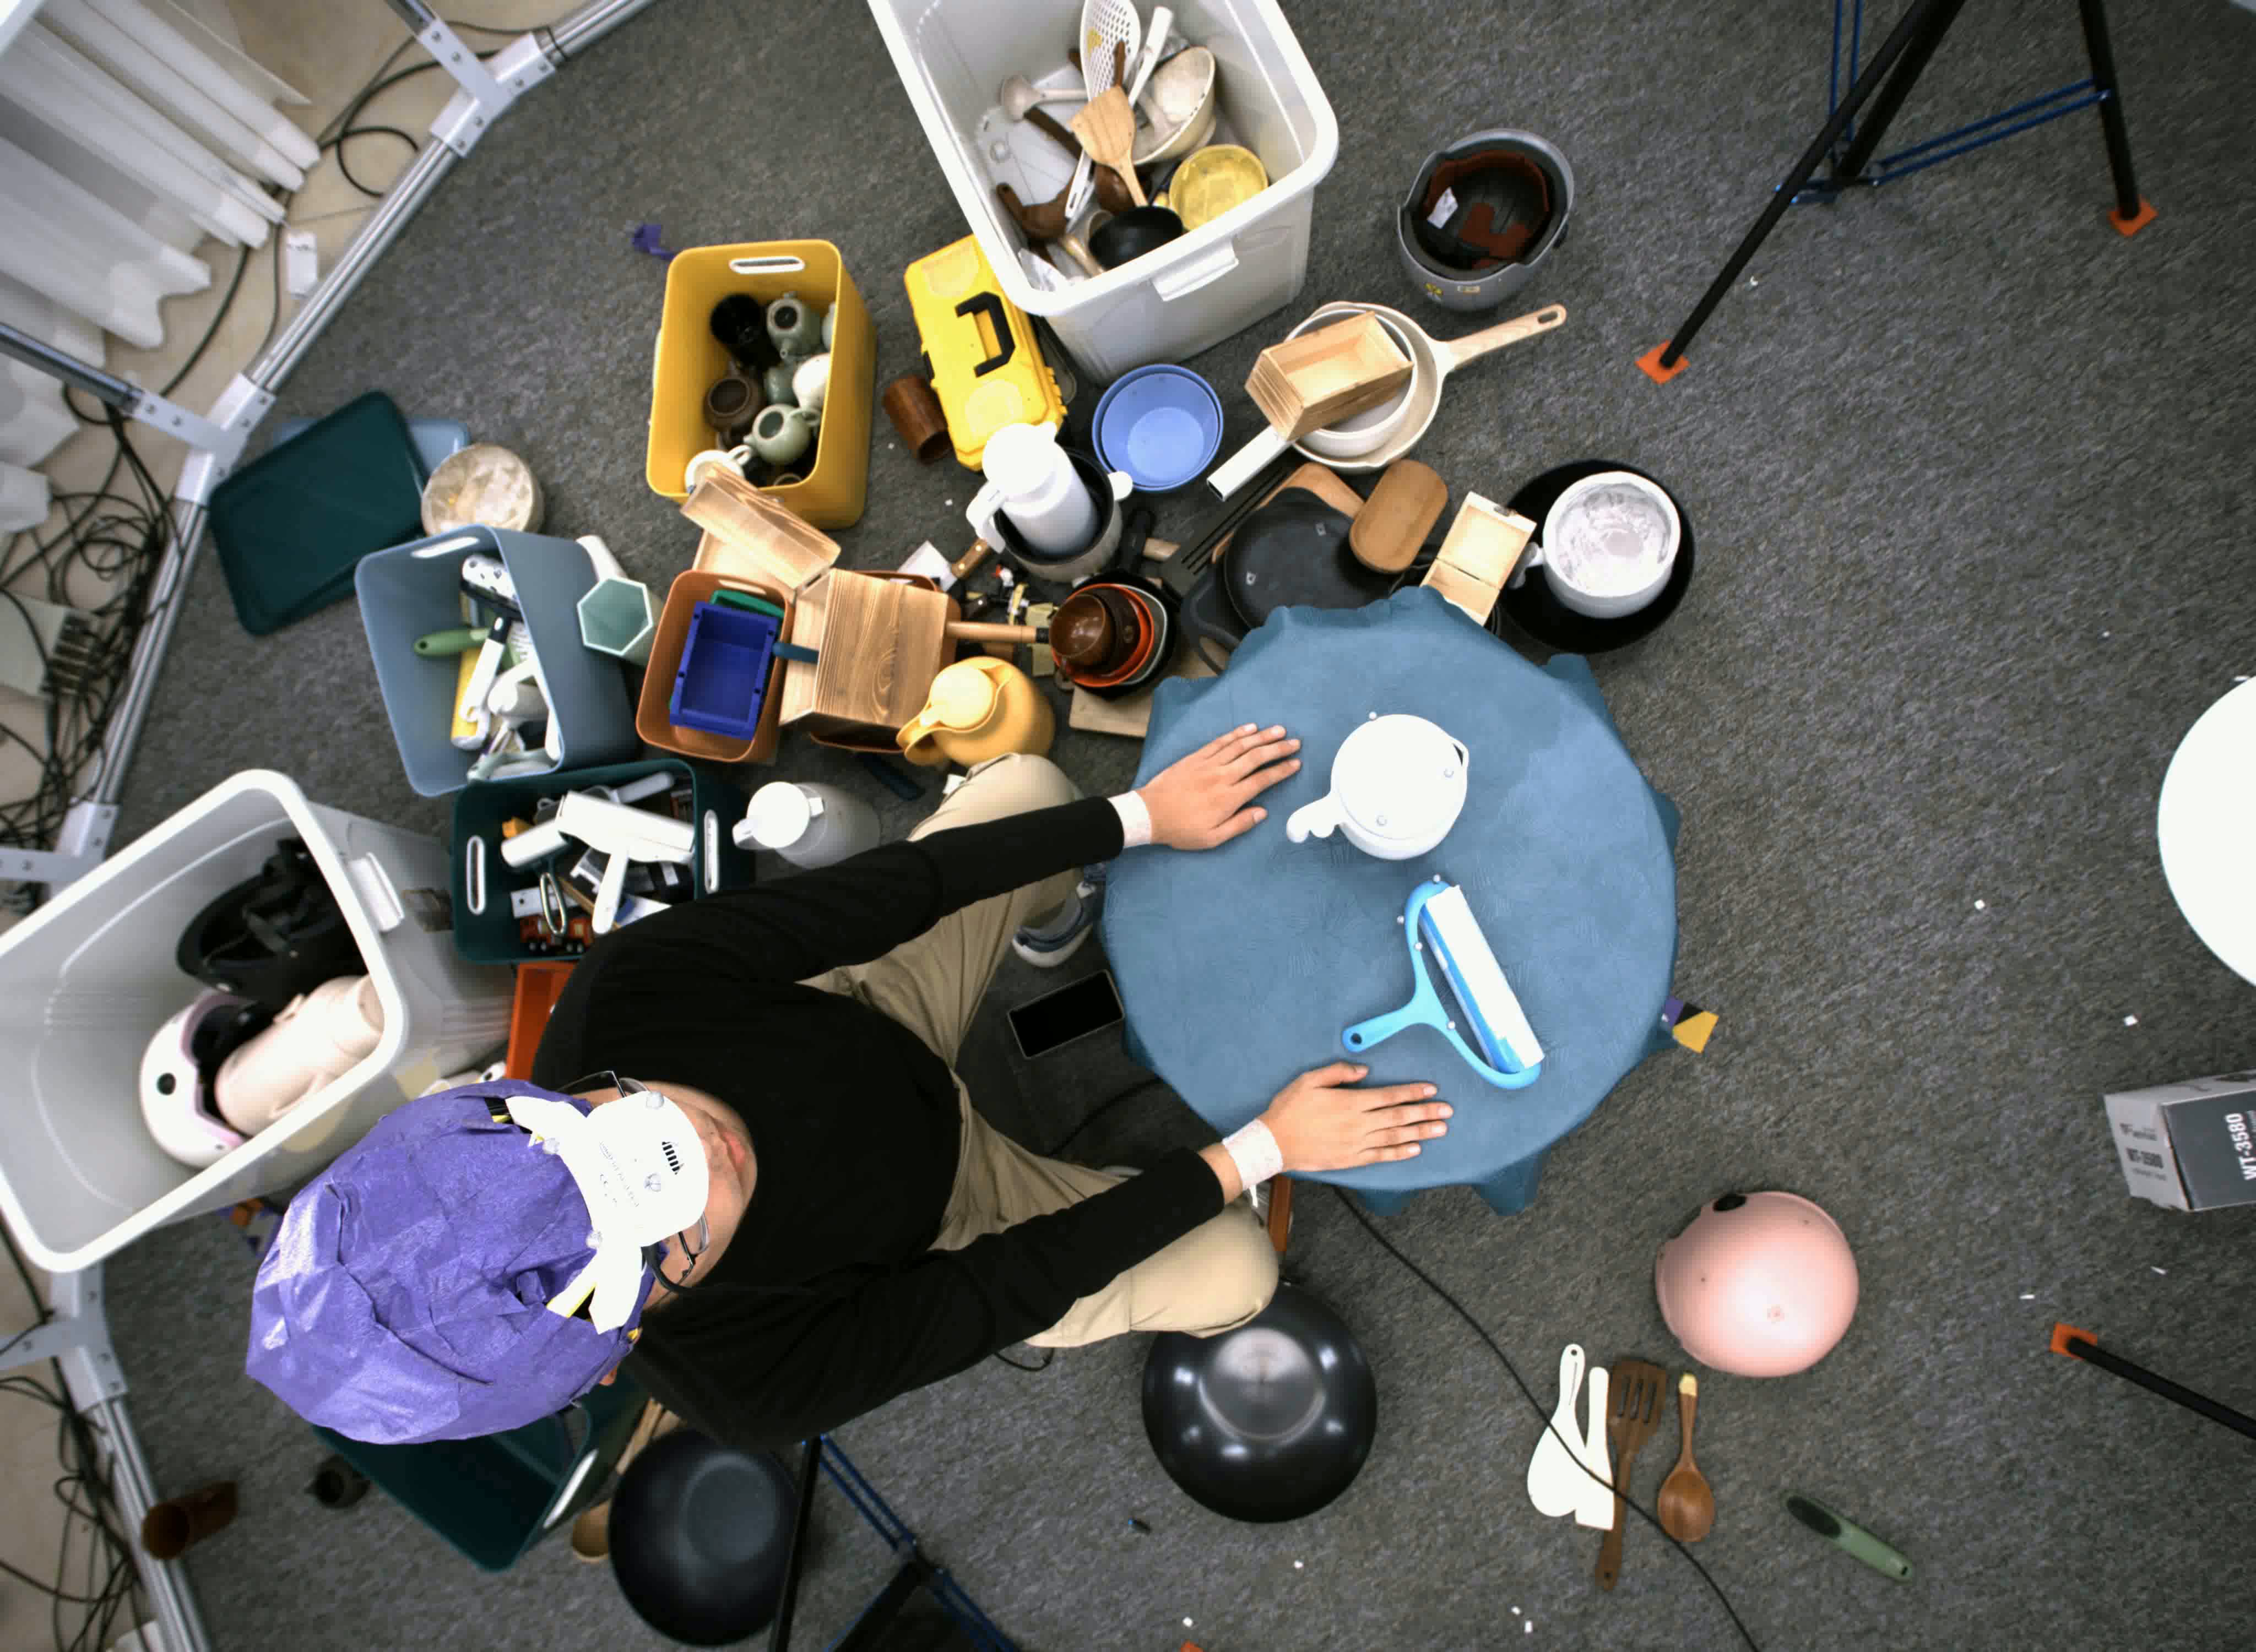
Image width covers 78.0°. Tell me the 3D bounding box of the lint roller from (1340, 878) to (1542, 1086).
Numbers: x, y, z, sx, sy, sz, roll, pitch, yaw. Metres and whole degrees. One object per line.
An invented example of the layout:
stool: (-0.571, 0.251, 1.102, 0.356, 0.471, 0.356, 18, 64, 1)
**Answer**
lint roller: (0.304, 0.184, 1.418, 0.180, 0.068, 0.228, -28, 85, 2)

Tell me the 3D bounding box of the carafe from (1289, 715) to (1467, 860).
carafe: (0.248, -0.028, 1.383, 0.192, 0.182, 0.131, -24, 81, 10)
